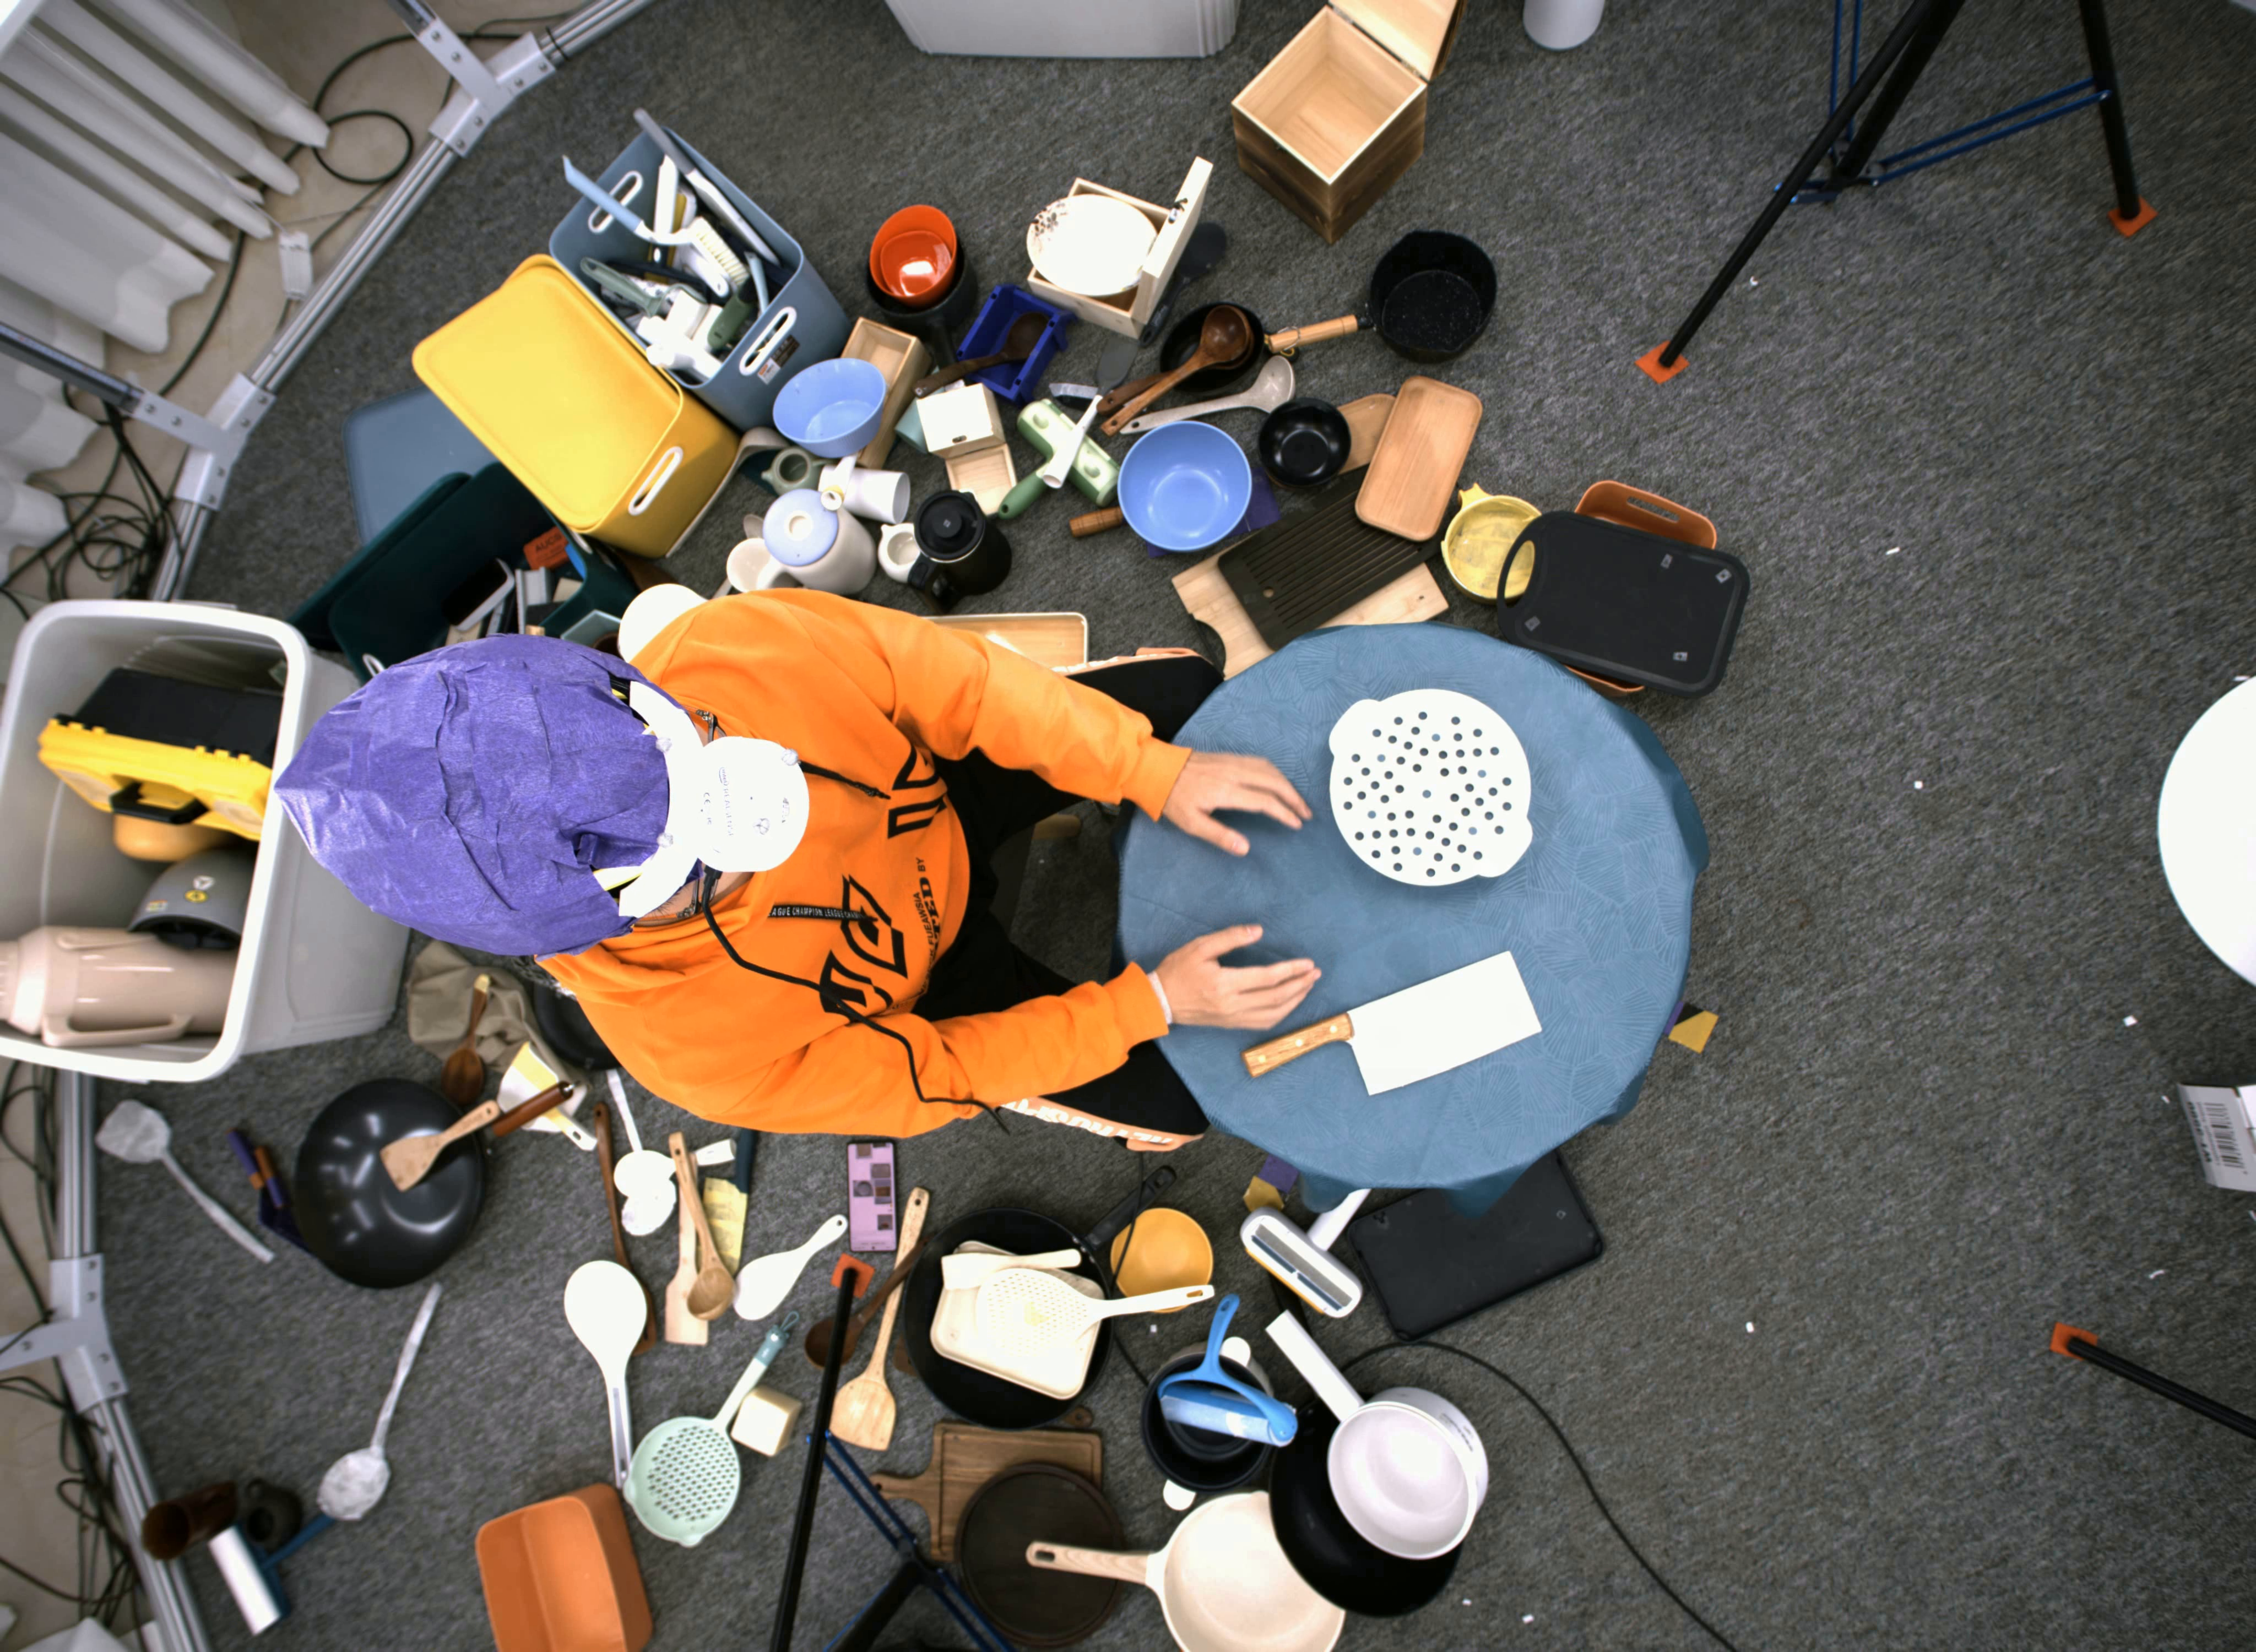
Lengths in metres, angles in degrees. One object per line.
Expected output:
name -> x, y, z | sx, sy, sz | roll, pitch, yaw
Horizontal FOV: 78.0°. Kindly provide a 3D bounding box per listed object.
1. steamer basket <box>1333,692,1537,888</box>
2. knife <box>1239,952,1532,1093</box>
steamer basket -> 0.315, -0.036, 1.423 | 0.230, 0.069, 0.202 | 40, 95, 8
knife -> 0.270, 0.222, 1.444 | 0.307, 0.021, 0.092 | -22, 85, 6
